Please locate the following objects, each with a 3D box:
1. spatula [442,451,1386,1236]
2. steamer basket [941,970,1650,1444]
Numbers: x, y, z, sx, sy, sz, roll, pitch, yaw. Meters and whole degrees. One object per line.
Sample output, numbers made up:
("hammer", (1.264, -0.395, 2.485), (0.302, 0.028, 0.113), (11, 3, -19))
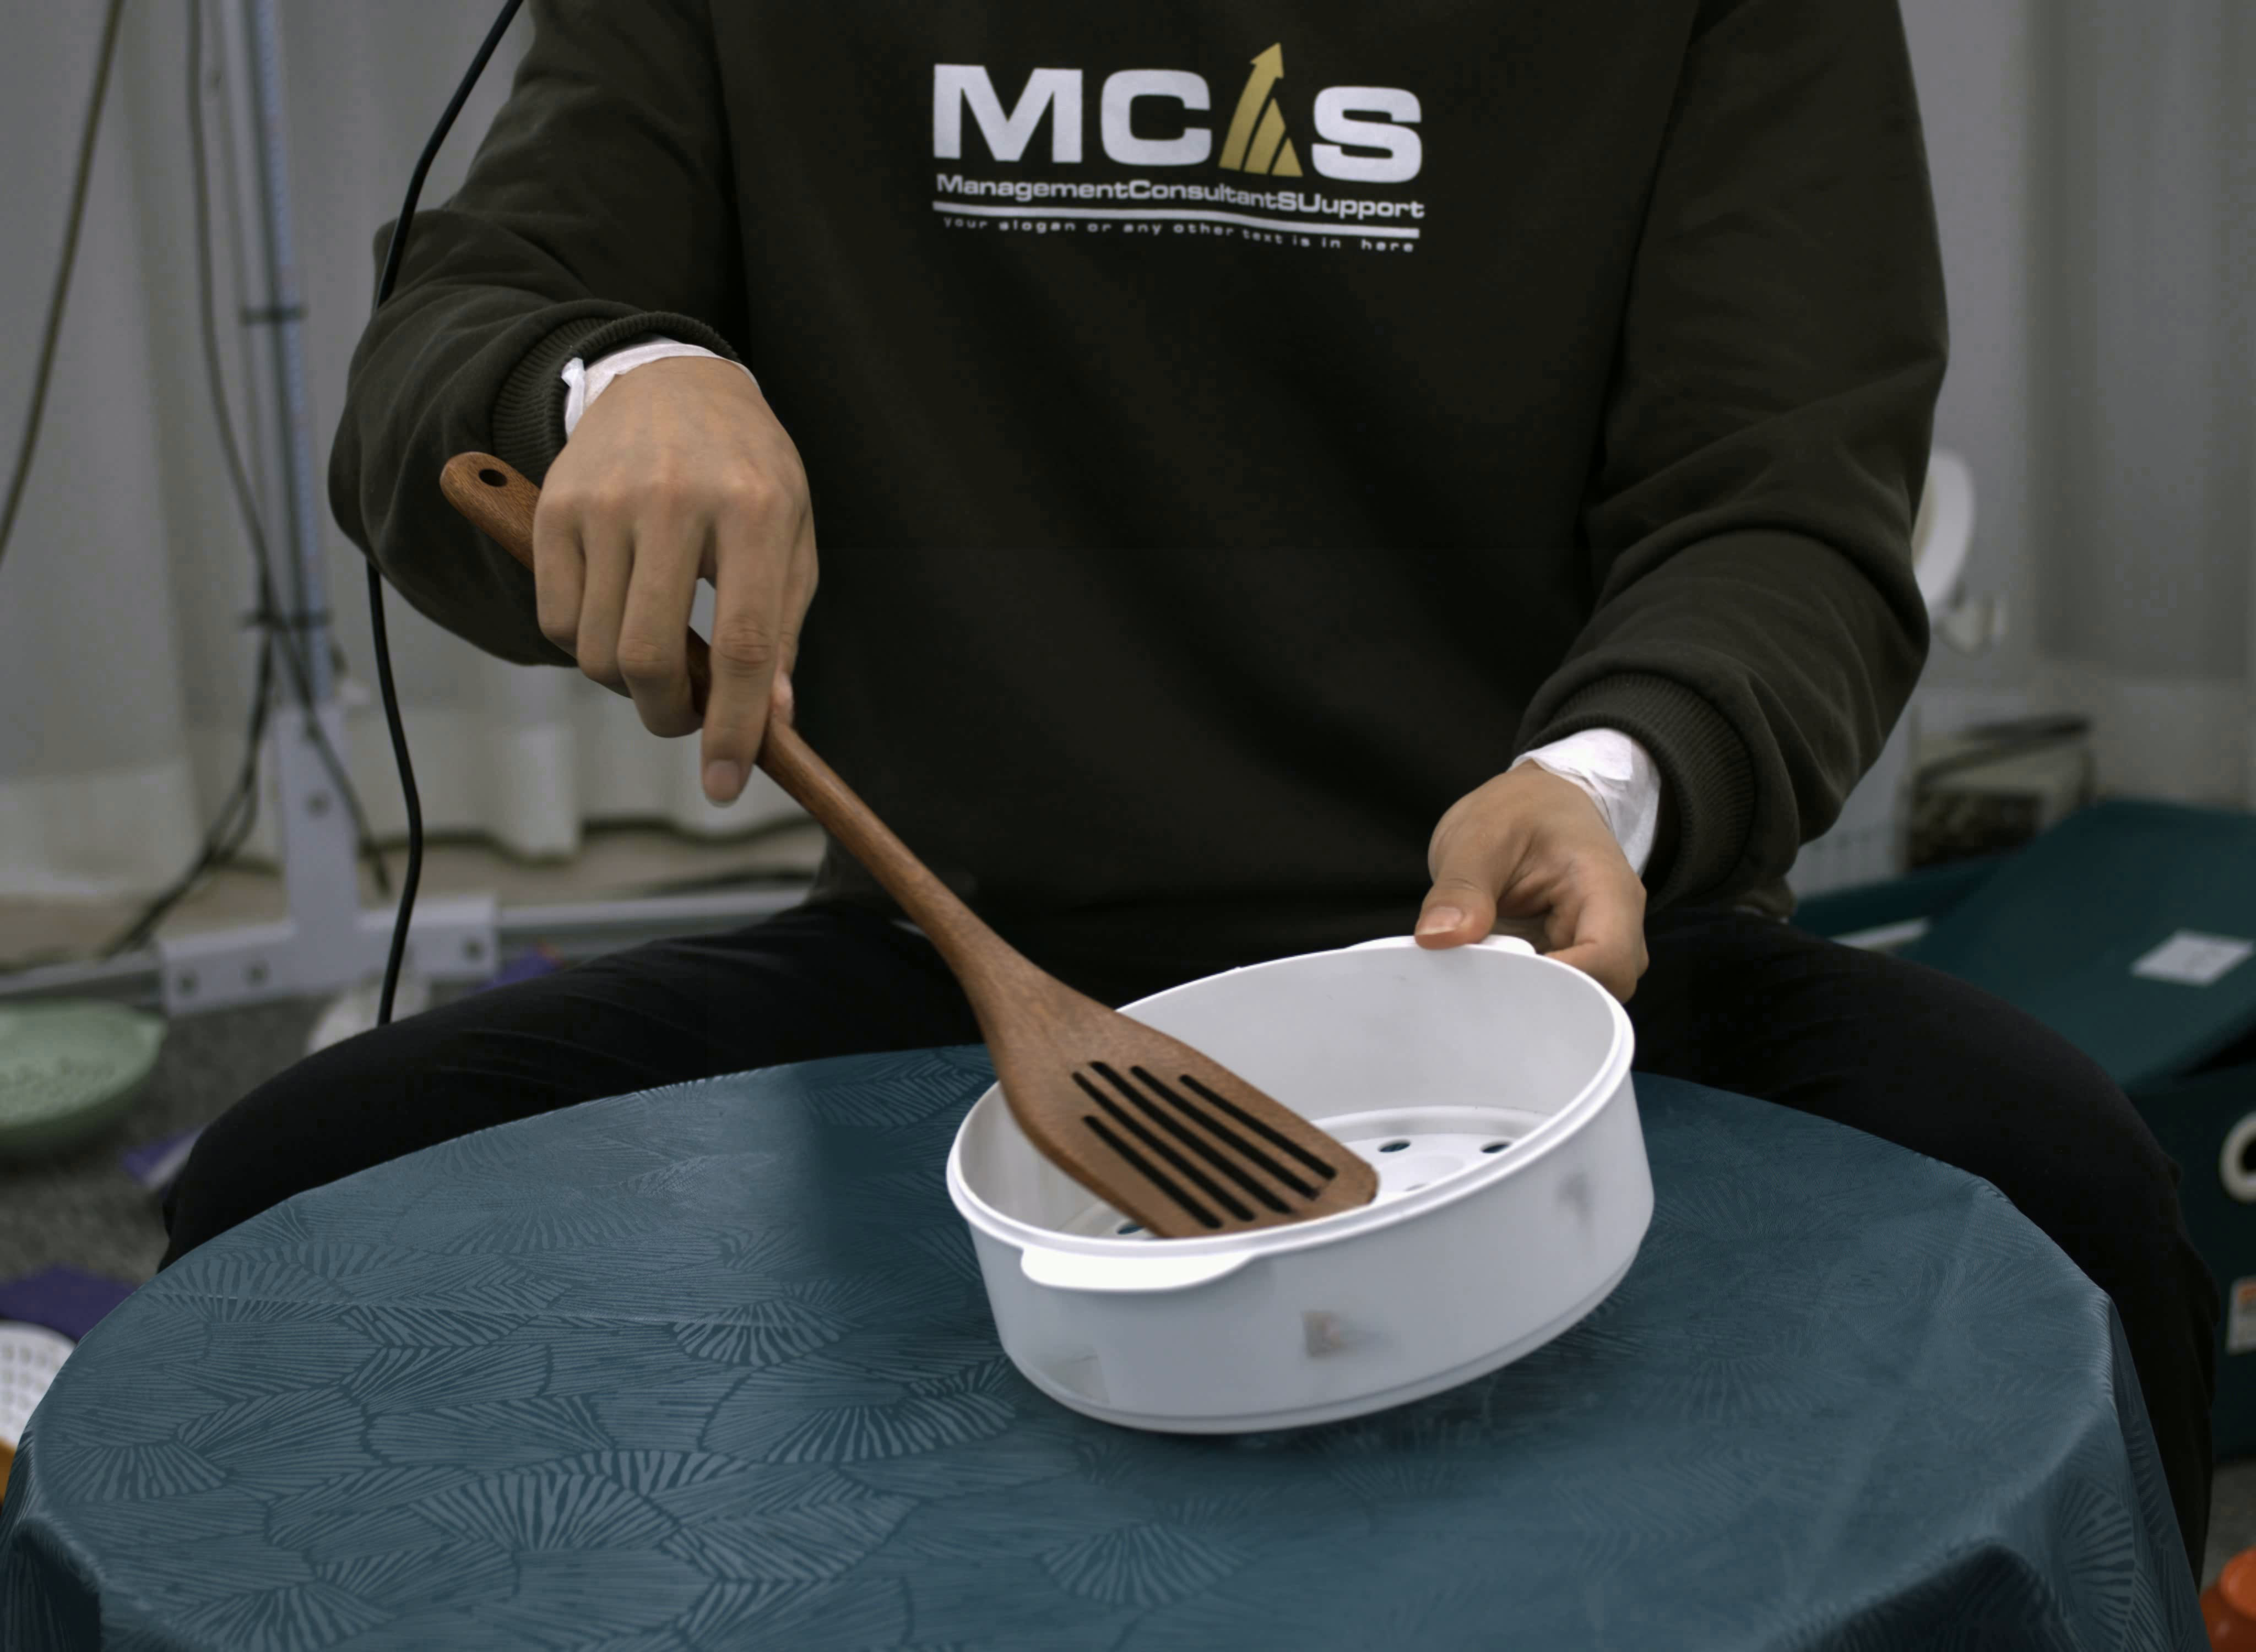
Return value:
("spatula", (-0.079, 0.005, 1.622), (0.389, 0.023, 0.086), (42, 38, 25))
("steamer basket", (0.050, 0.109, 1.563), (0.202, 0.069, 0.231), (0, 20, 30))
